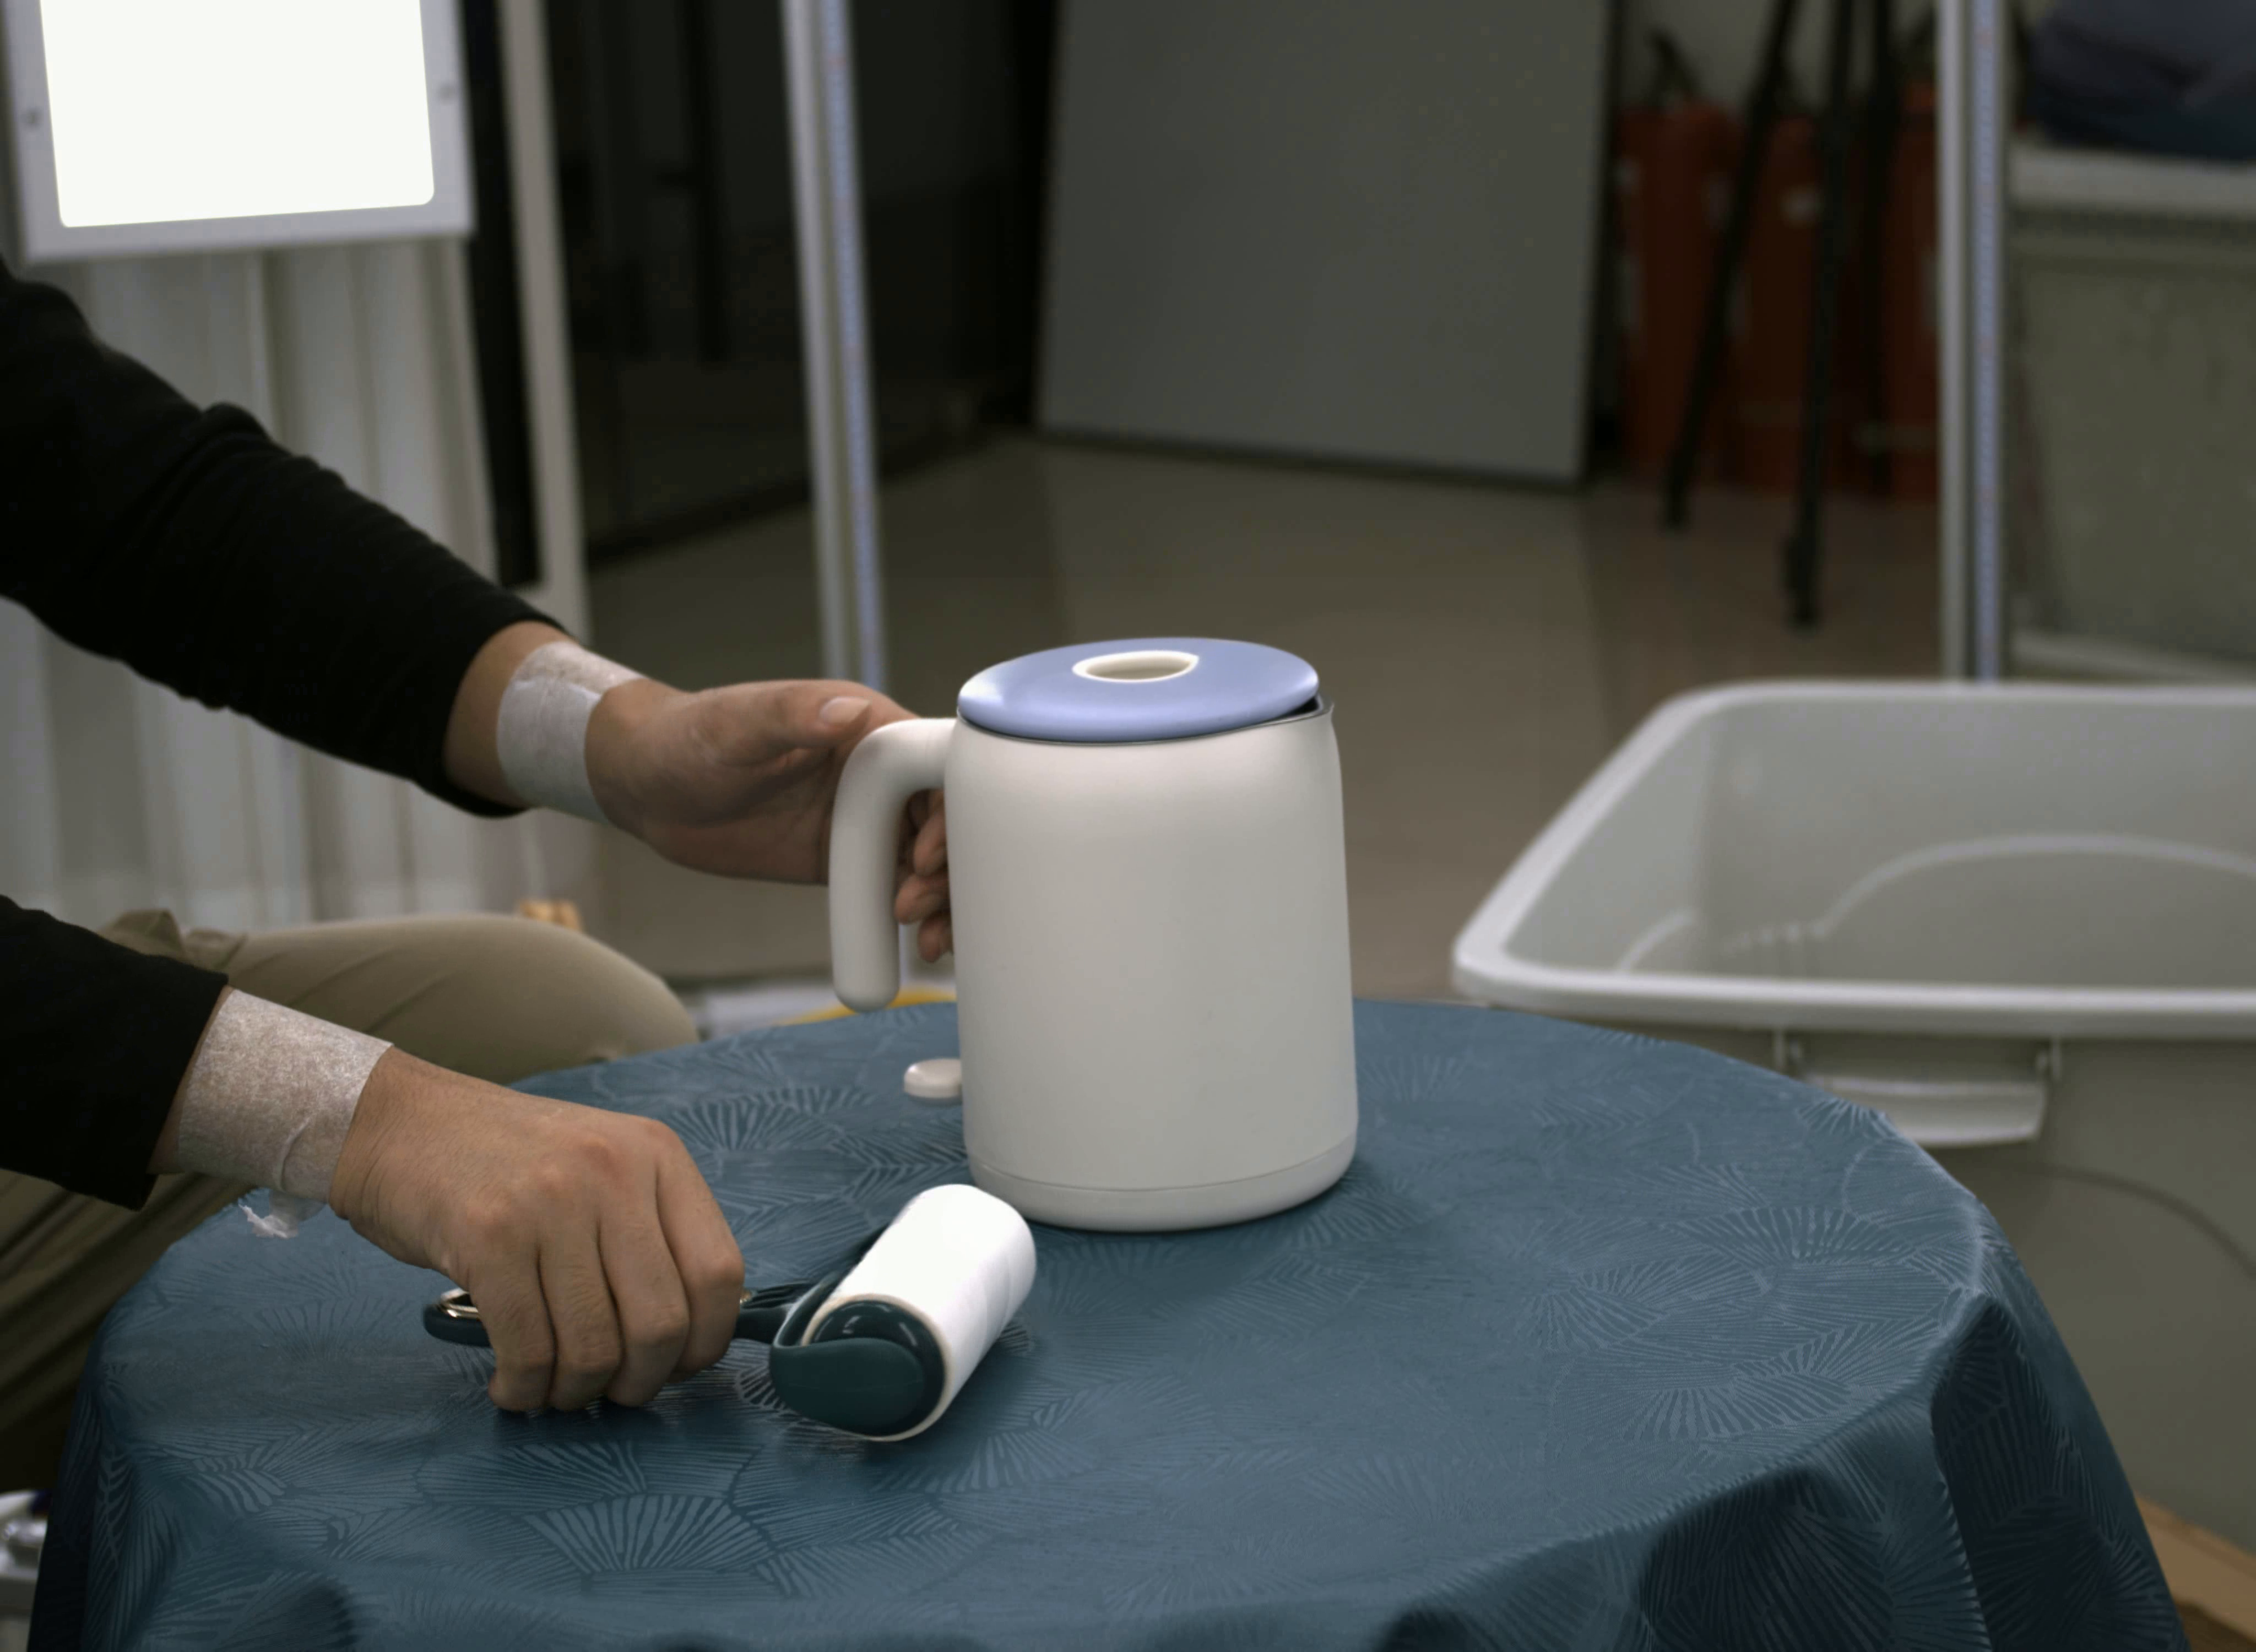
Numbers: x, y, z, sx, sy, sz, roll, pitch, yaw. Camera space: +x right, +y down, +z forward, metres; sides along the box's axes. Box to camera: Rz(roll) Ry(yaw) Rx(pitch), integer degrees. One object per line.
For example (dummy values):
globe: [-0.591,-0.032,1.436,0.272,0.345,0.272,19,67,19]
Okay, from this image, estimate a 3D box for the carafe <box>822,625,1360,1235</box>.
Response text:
carafe: [-0.015,0.033,1.772,0.191,0.184,0.130,0,13,25]

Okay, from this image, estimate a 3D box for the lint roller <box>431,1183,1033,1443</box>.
lint roller: [-0.126,0.143,1.615,0.179,0.049,0.133,0,15,17]
